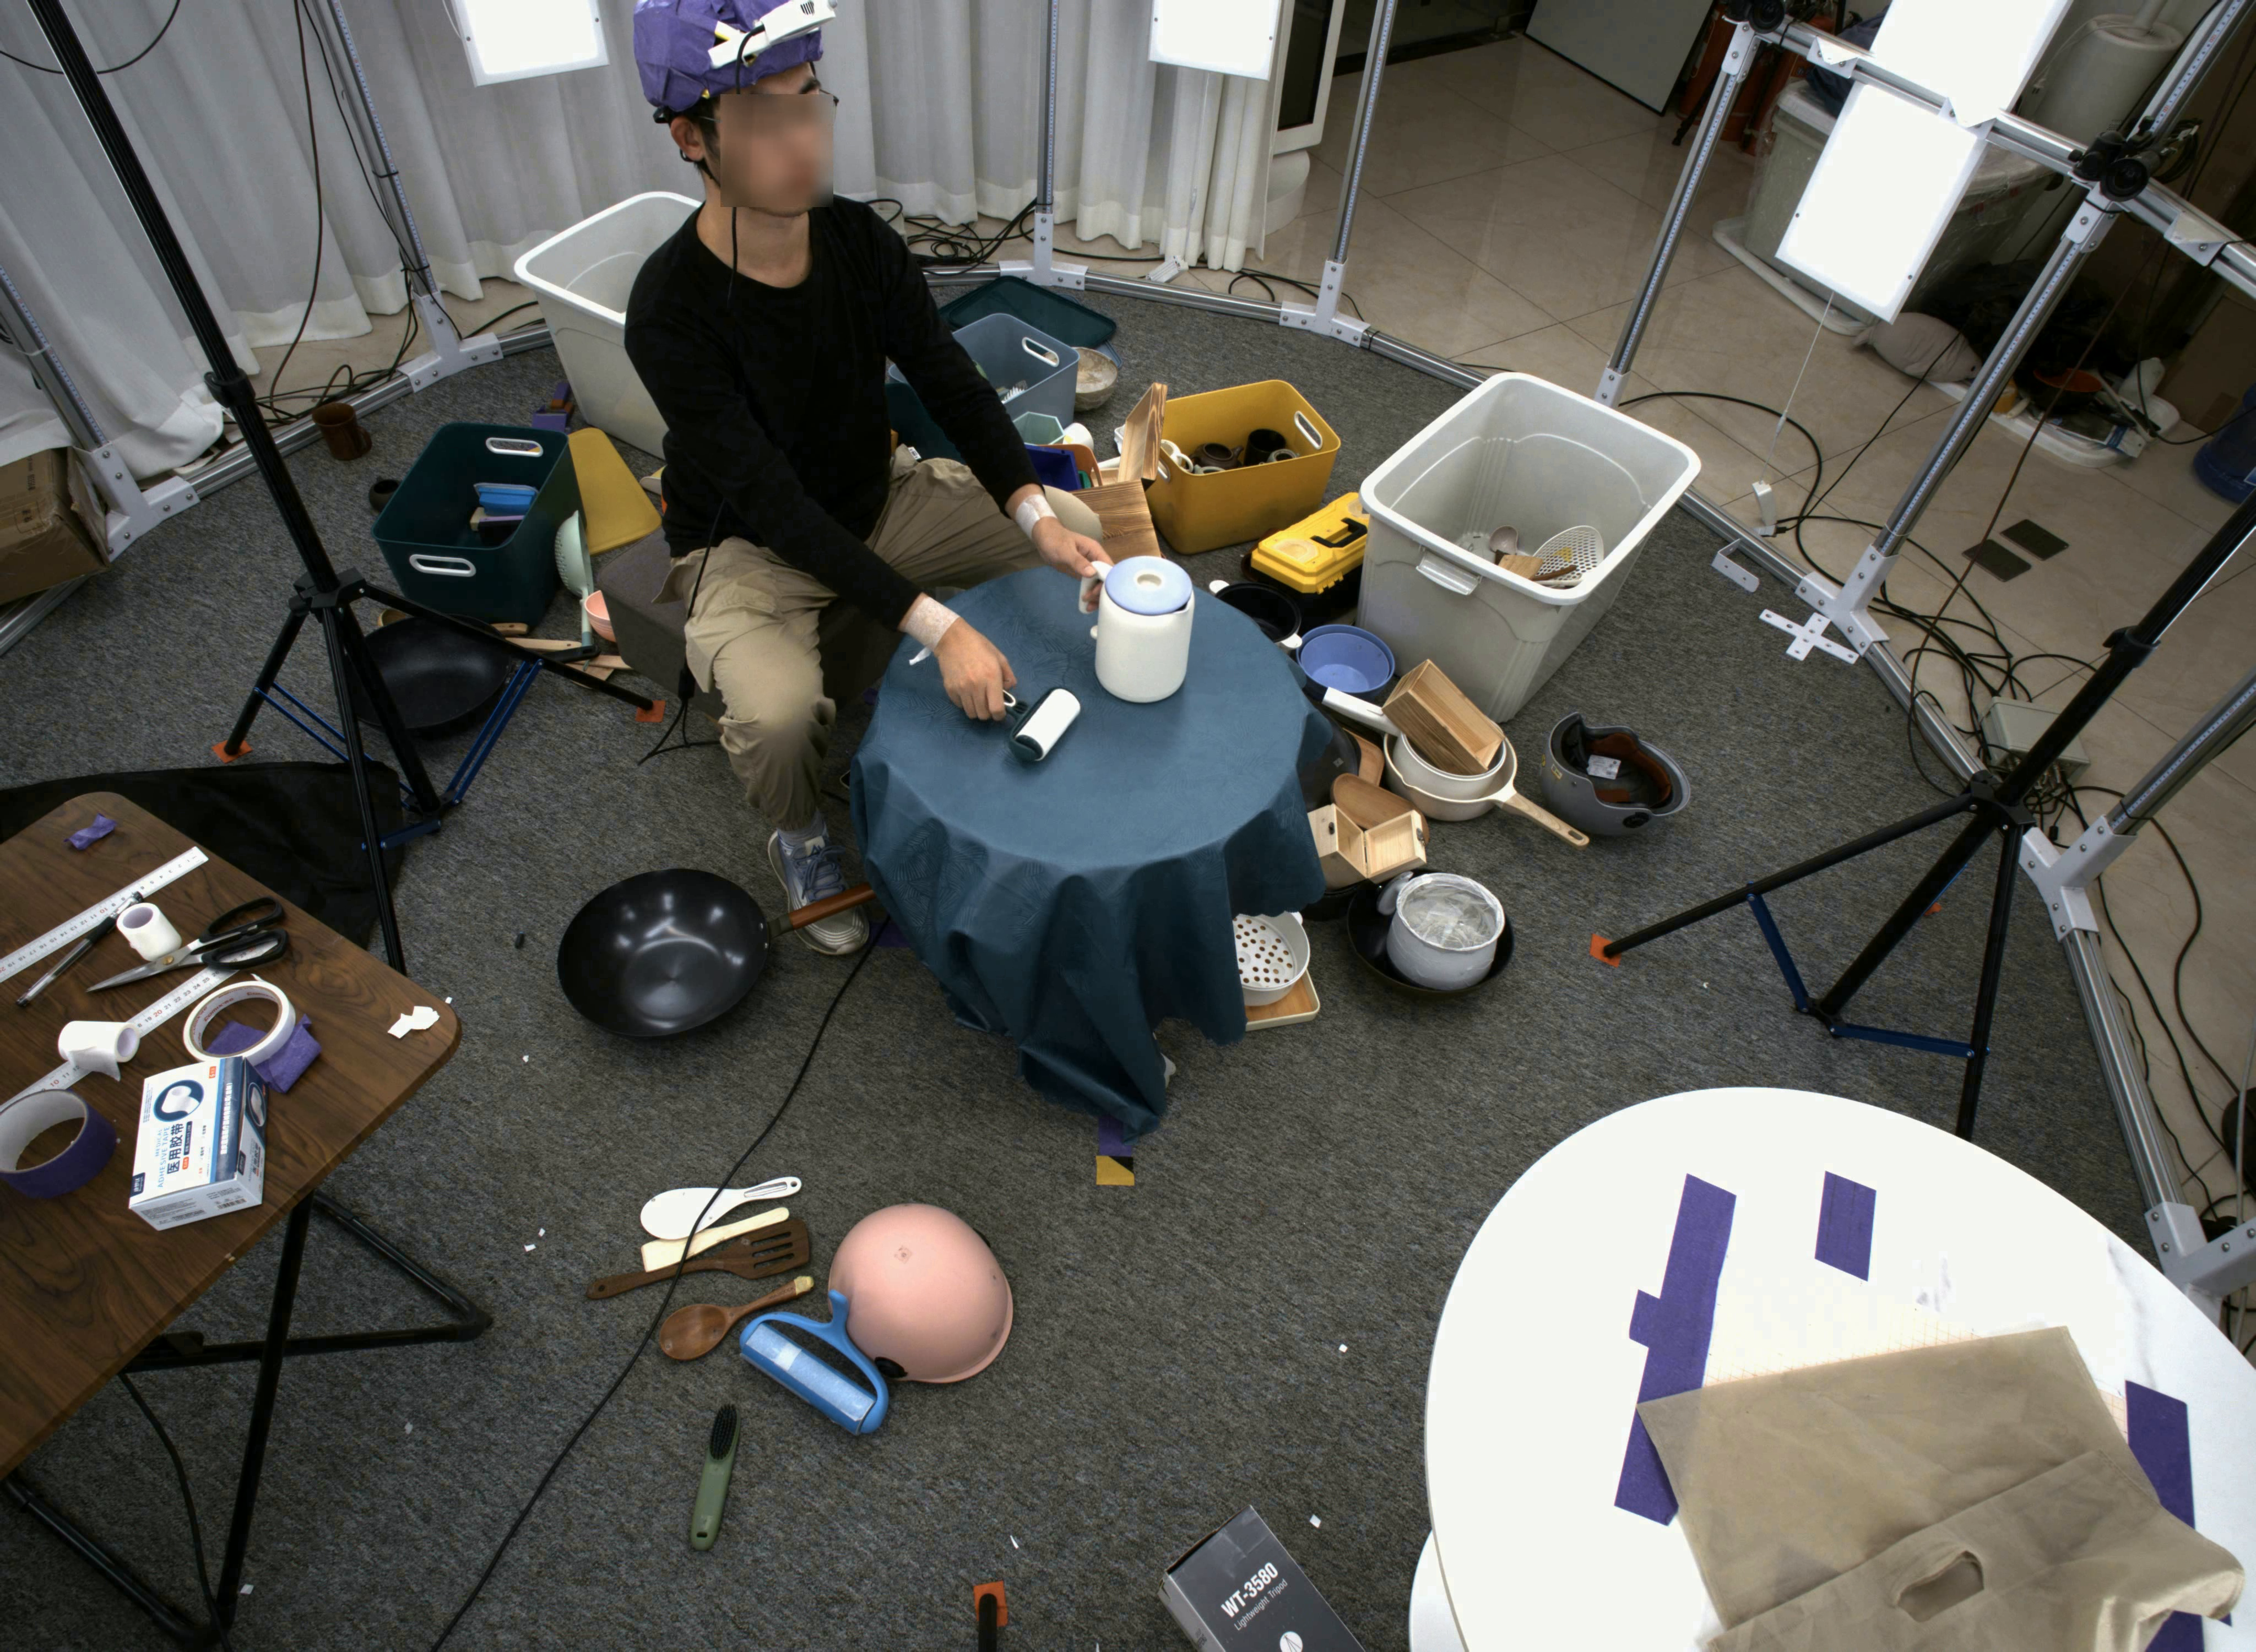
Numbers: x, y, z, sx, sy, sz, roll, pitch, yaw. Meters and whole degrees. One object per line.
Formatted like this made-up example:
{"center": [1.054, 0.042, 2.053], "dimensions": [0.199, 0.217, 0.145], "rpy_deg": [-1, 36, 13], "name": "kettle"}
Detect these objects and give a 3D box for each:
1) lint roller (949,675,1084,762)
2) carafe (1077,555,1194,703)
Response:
{"center": [-0.167, -0.172, 1.762], "dimensions": [0.181, 0.047, 0.136], "rpy_deg": [32, 54, 11], "name": "lint roller"}
{"center": [0.004, -0.287, 1.809], "dimensions": [0.193, 0.178, 0.134], "rpy_deg": [33, 54, 25], "name": "carafe"}
